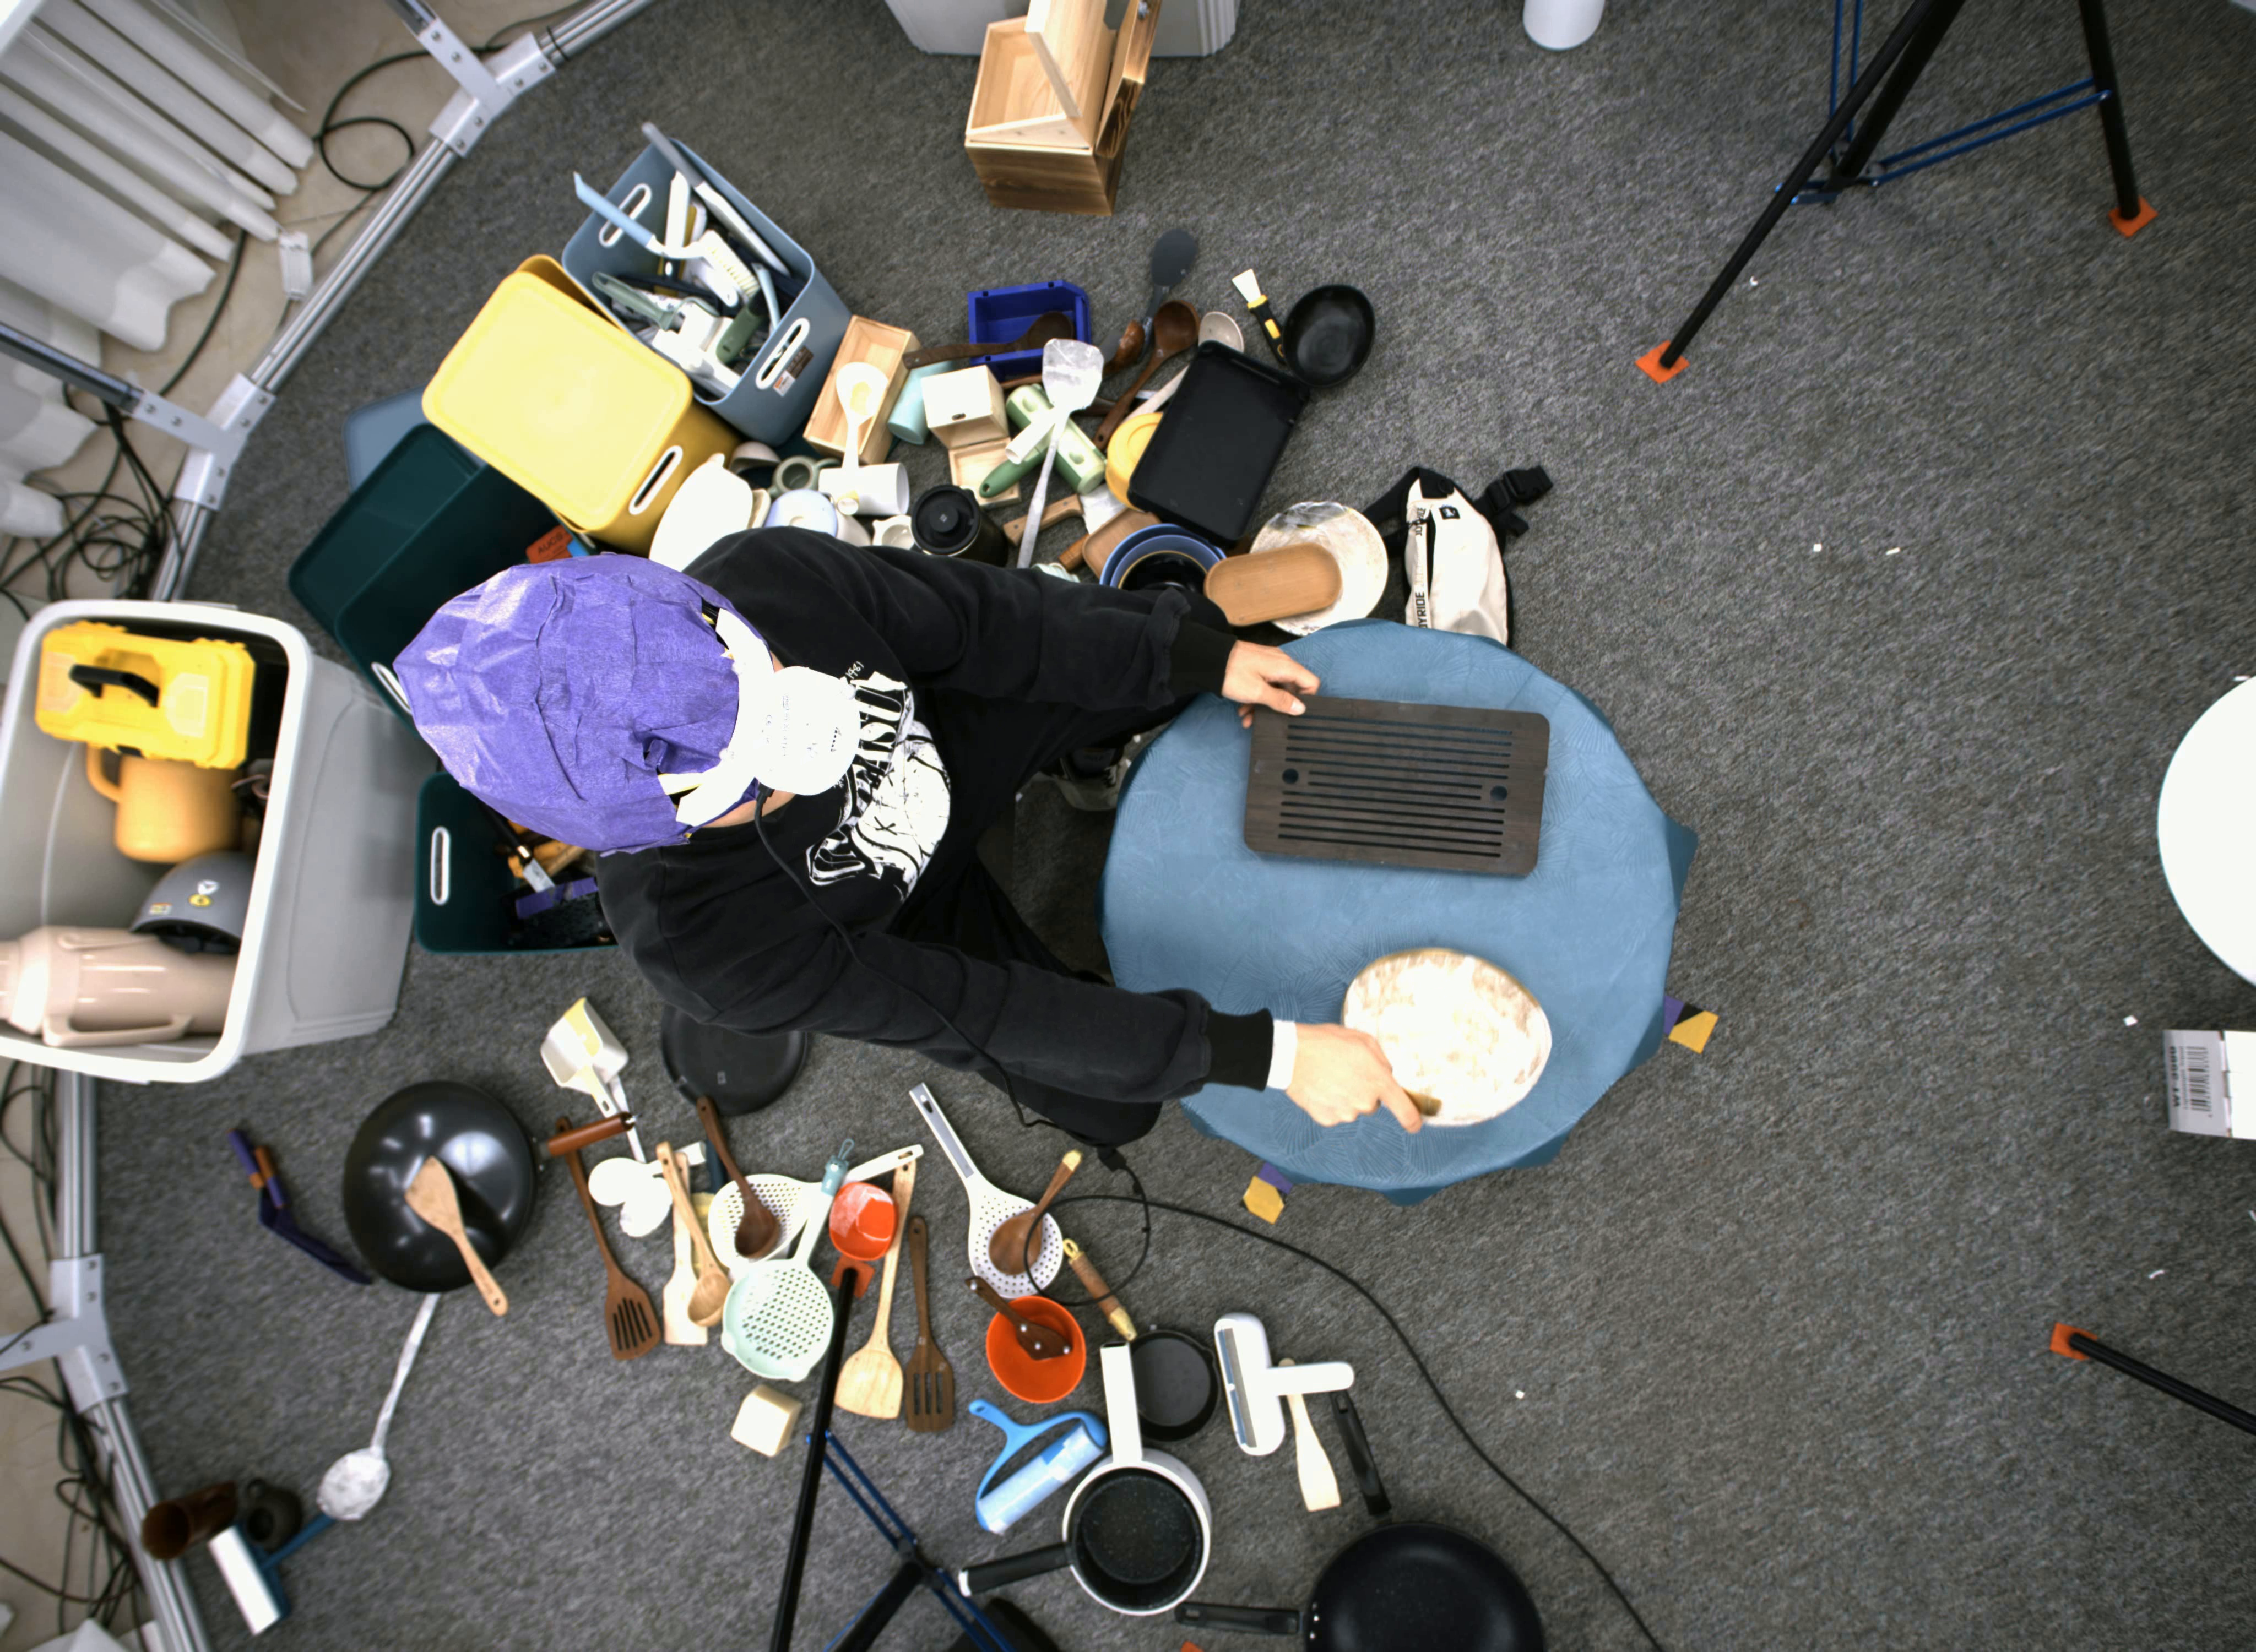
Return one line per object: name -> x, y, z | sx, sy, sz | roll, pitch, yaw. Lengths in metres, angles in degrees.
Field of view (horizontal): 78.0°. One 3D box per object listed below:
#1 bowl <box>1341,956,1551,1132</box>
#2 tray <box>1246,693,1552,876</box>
bowl -> 0.308, 0.226, 1.374 | 0.215, 0.209, 0.097 | -1, 129, 1
tray -> 0.281, -0.046, 1.442 | 0.307, 0.018, 0.171 | 5, 96, 8
